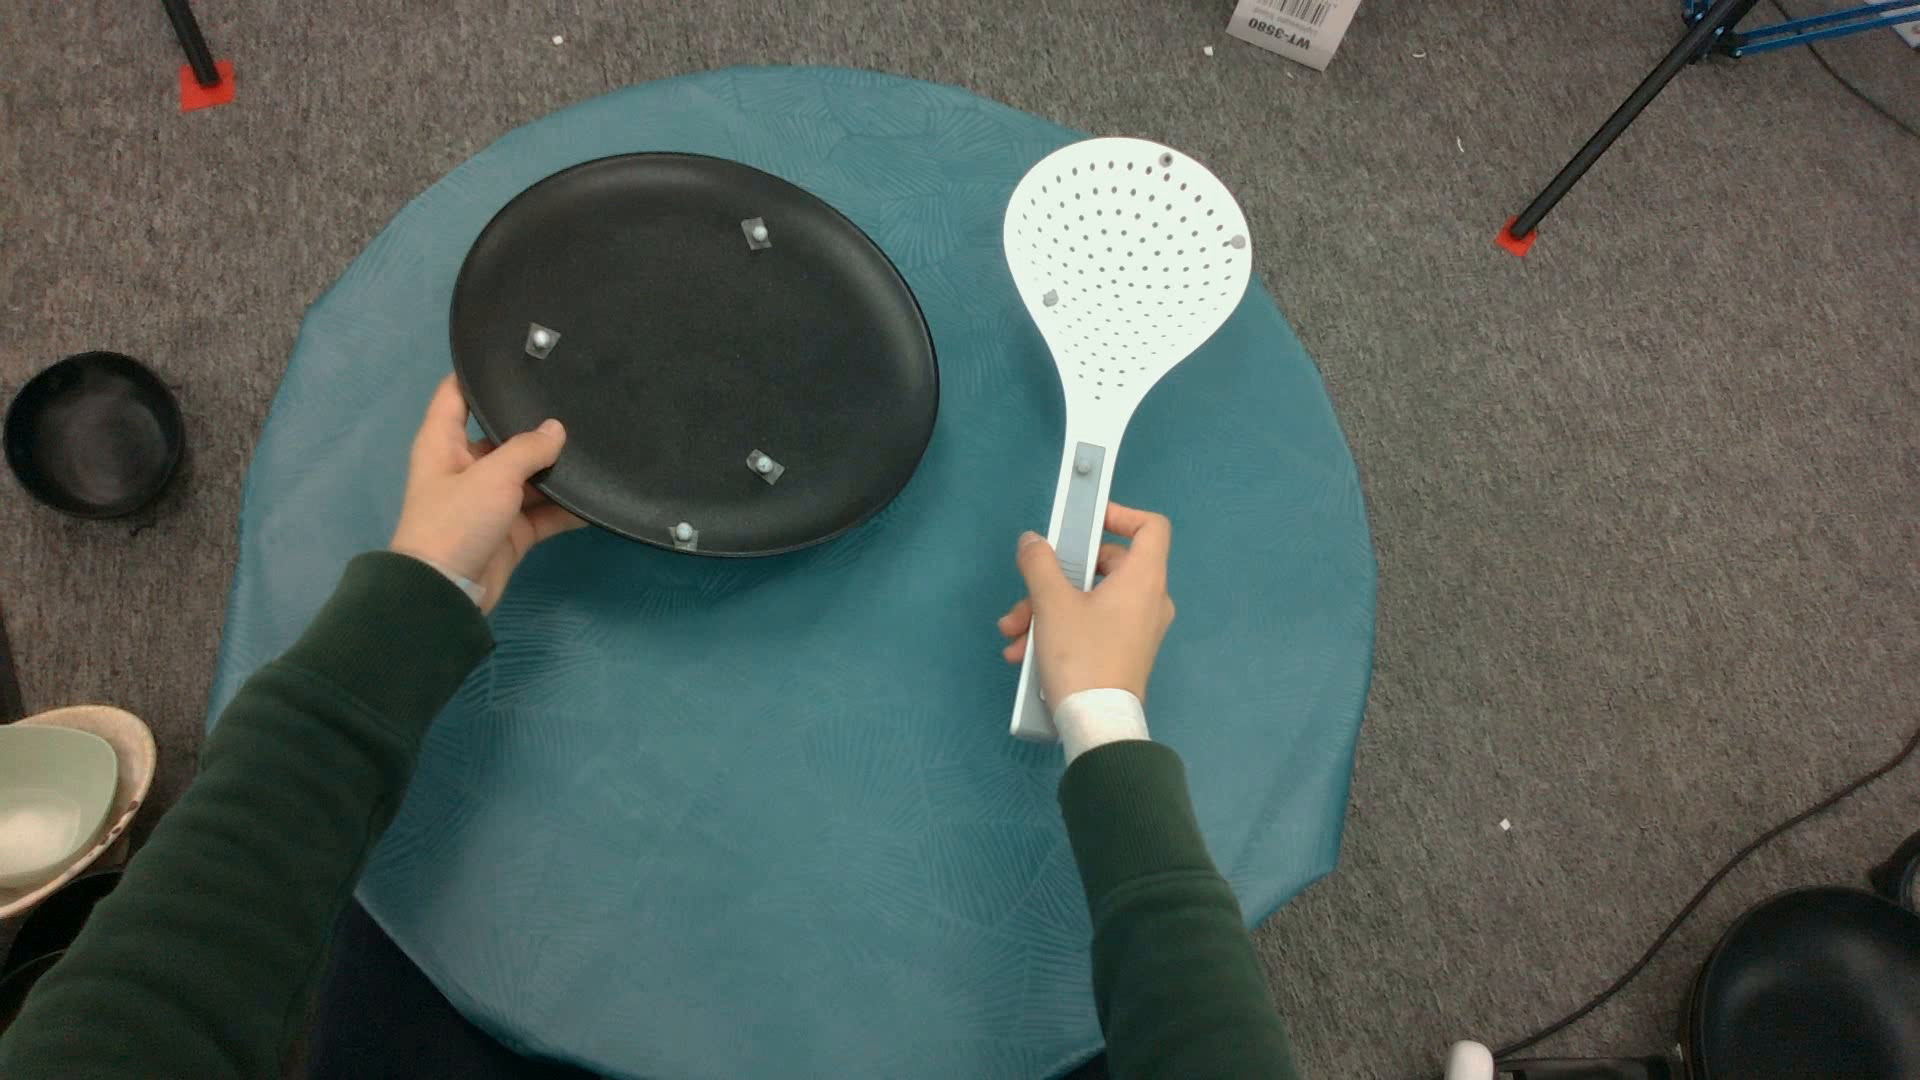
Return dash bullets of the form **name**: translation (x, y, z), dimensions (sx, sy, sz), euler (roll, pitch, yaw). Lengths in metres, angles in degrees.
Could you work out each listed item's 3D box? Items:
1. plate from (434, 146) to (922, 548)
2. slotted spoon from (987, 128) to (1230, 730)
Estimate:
- **plate**: translation (-0.138, -0.100, 0.701), dimensions (0.244, 0.023, 0.245), euler (10, 59, -17)
- **slotted spoon**: translation (0.061, -0.070, 0.715), dimensions (0.136, 0.045, 0.351), euler (12, 62, -1)
